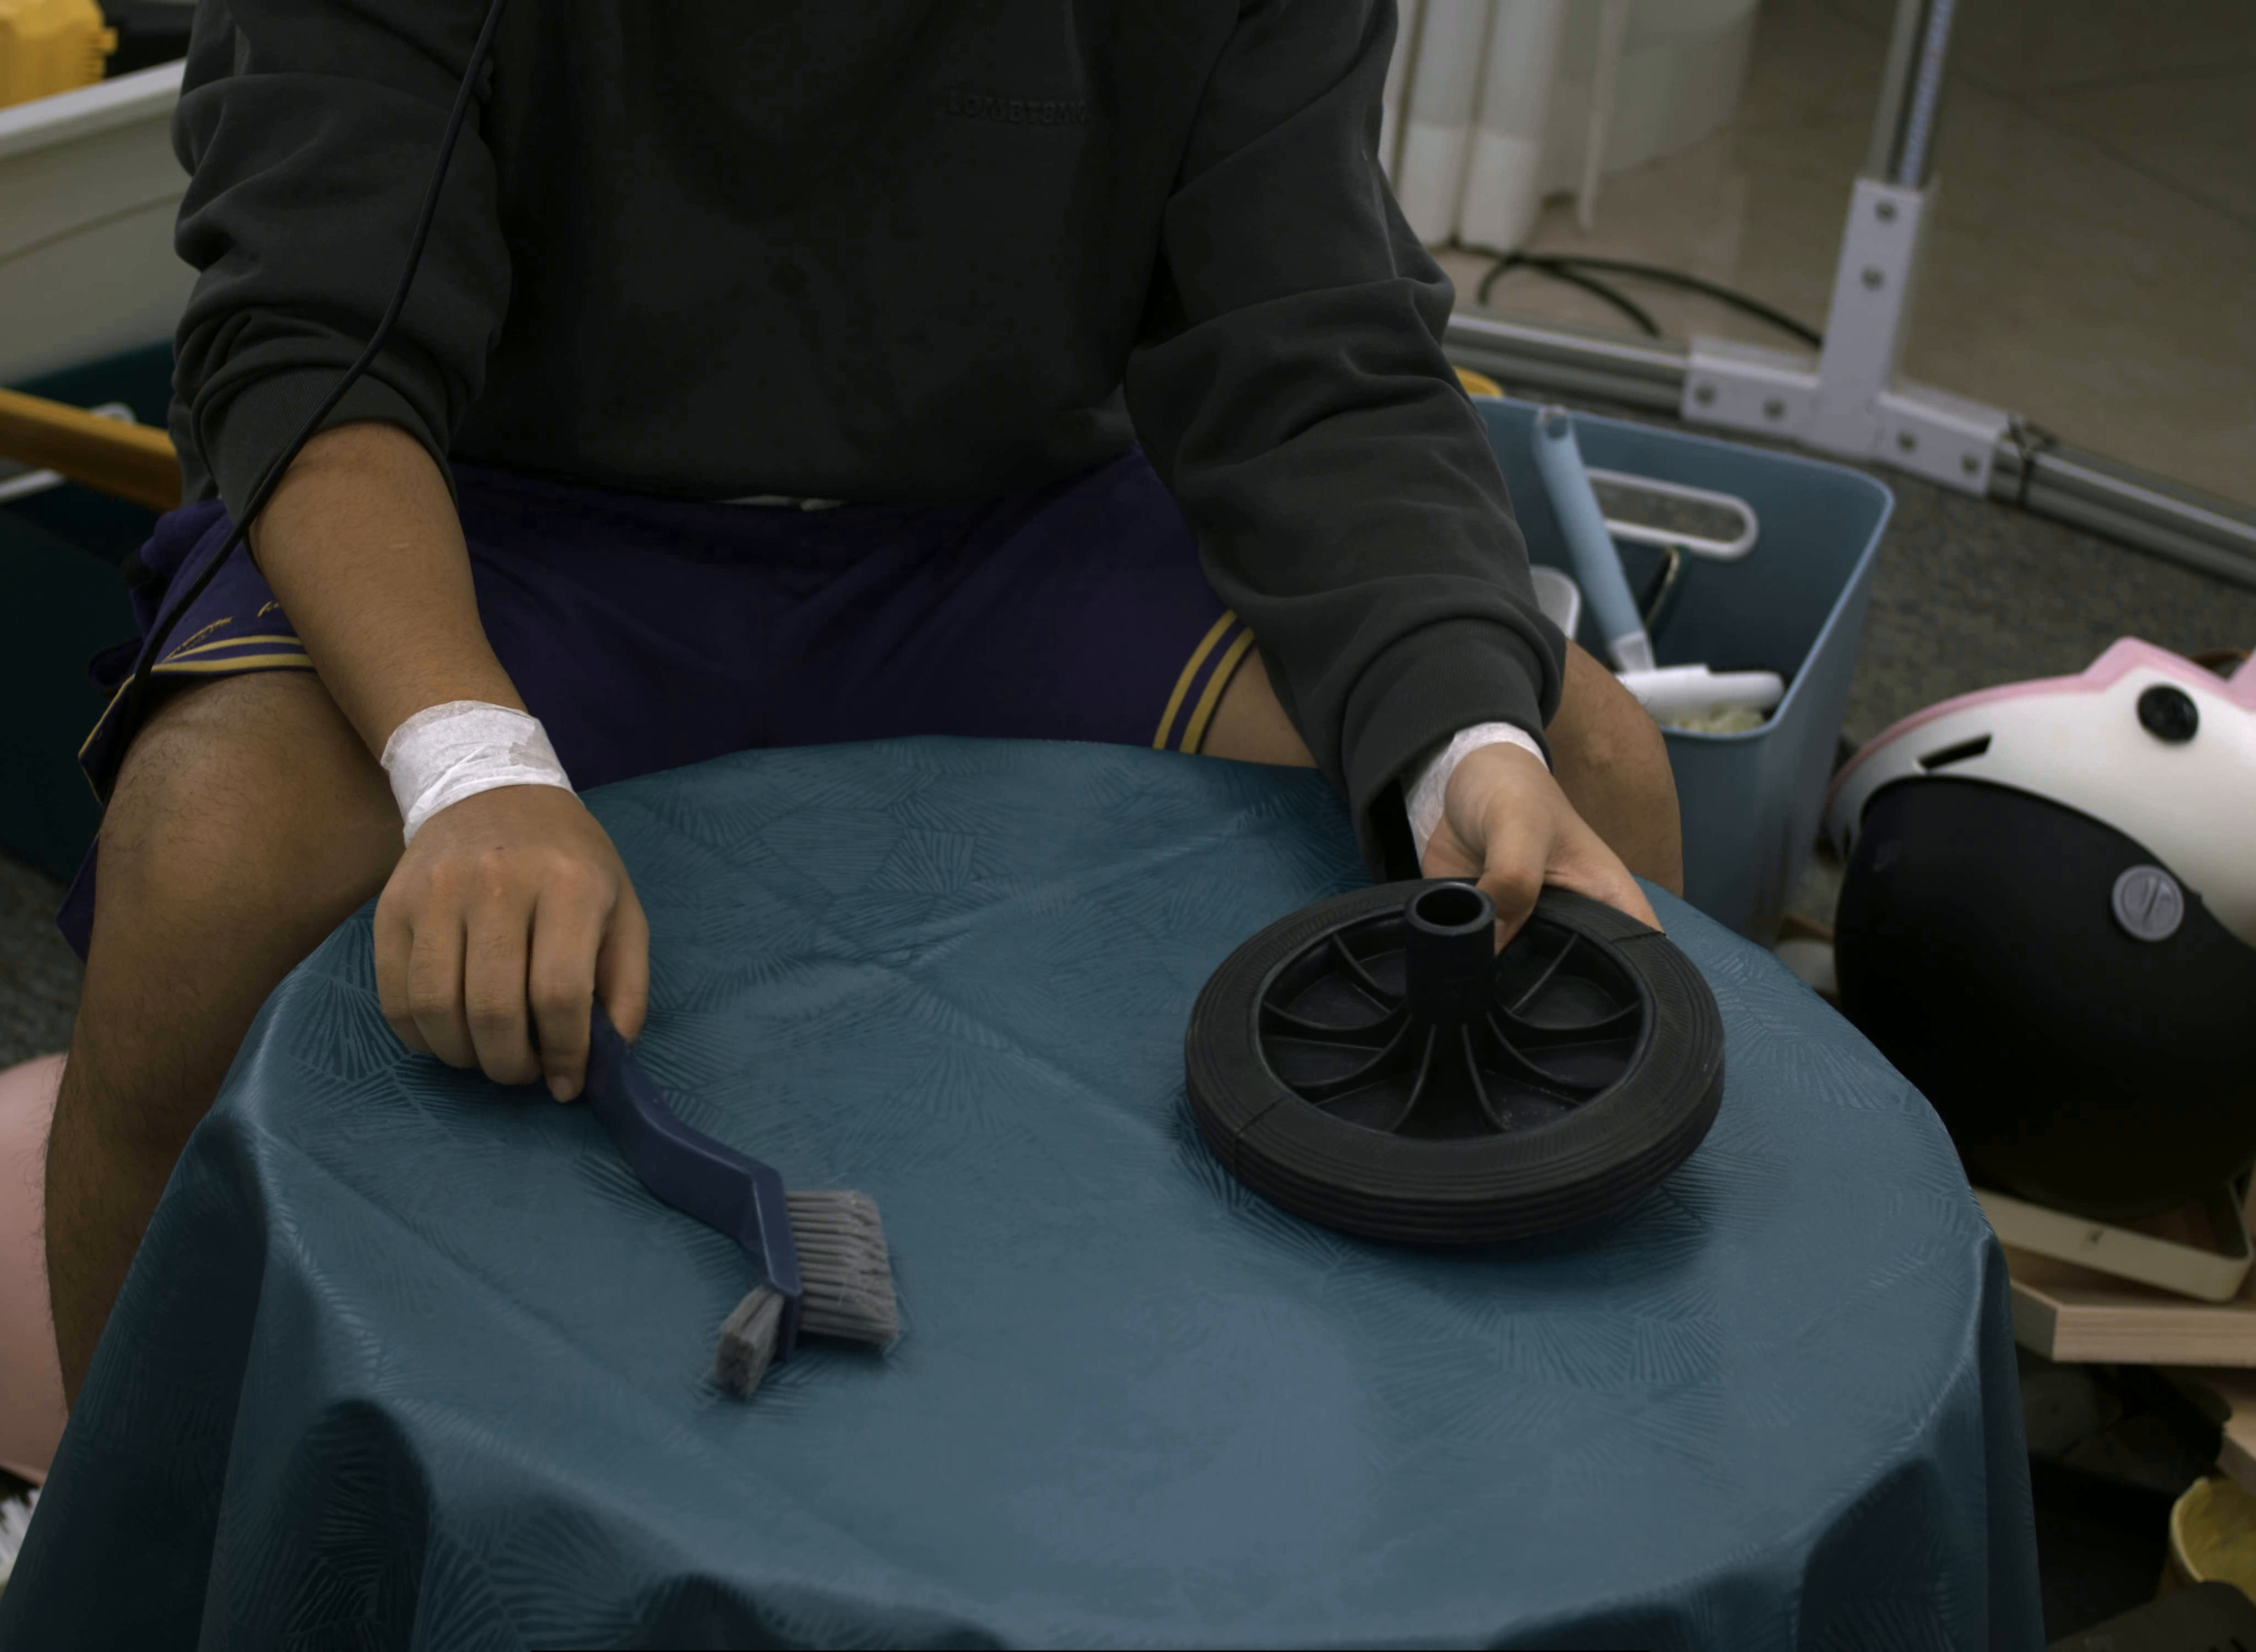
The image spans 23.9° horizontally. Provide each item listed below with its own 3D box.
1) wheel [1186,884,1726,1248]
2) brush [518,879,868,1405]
[{"bbox_3d":[0.112,0.063,1.838,0.187,0.079,0.191,-3,33,3],"label":"wheel"},{"bbox_3d":[-0.166,0.100,1.775,0.095,0.033,0.276,-12,33,-31],"label":"brush"}]
